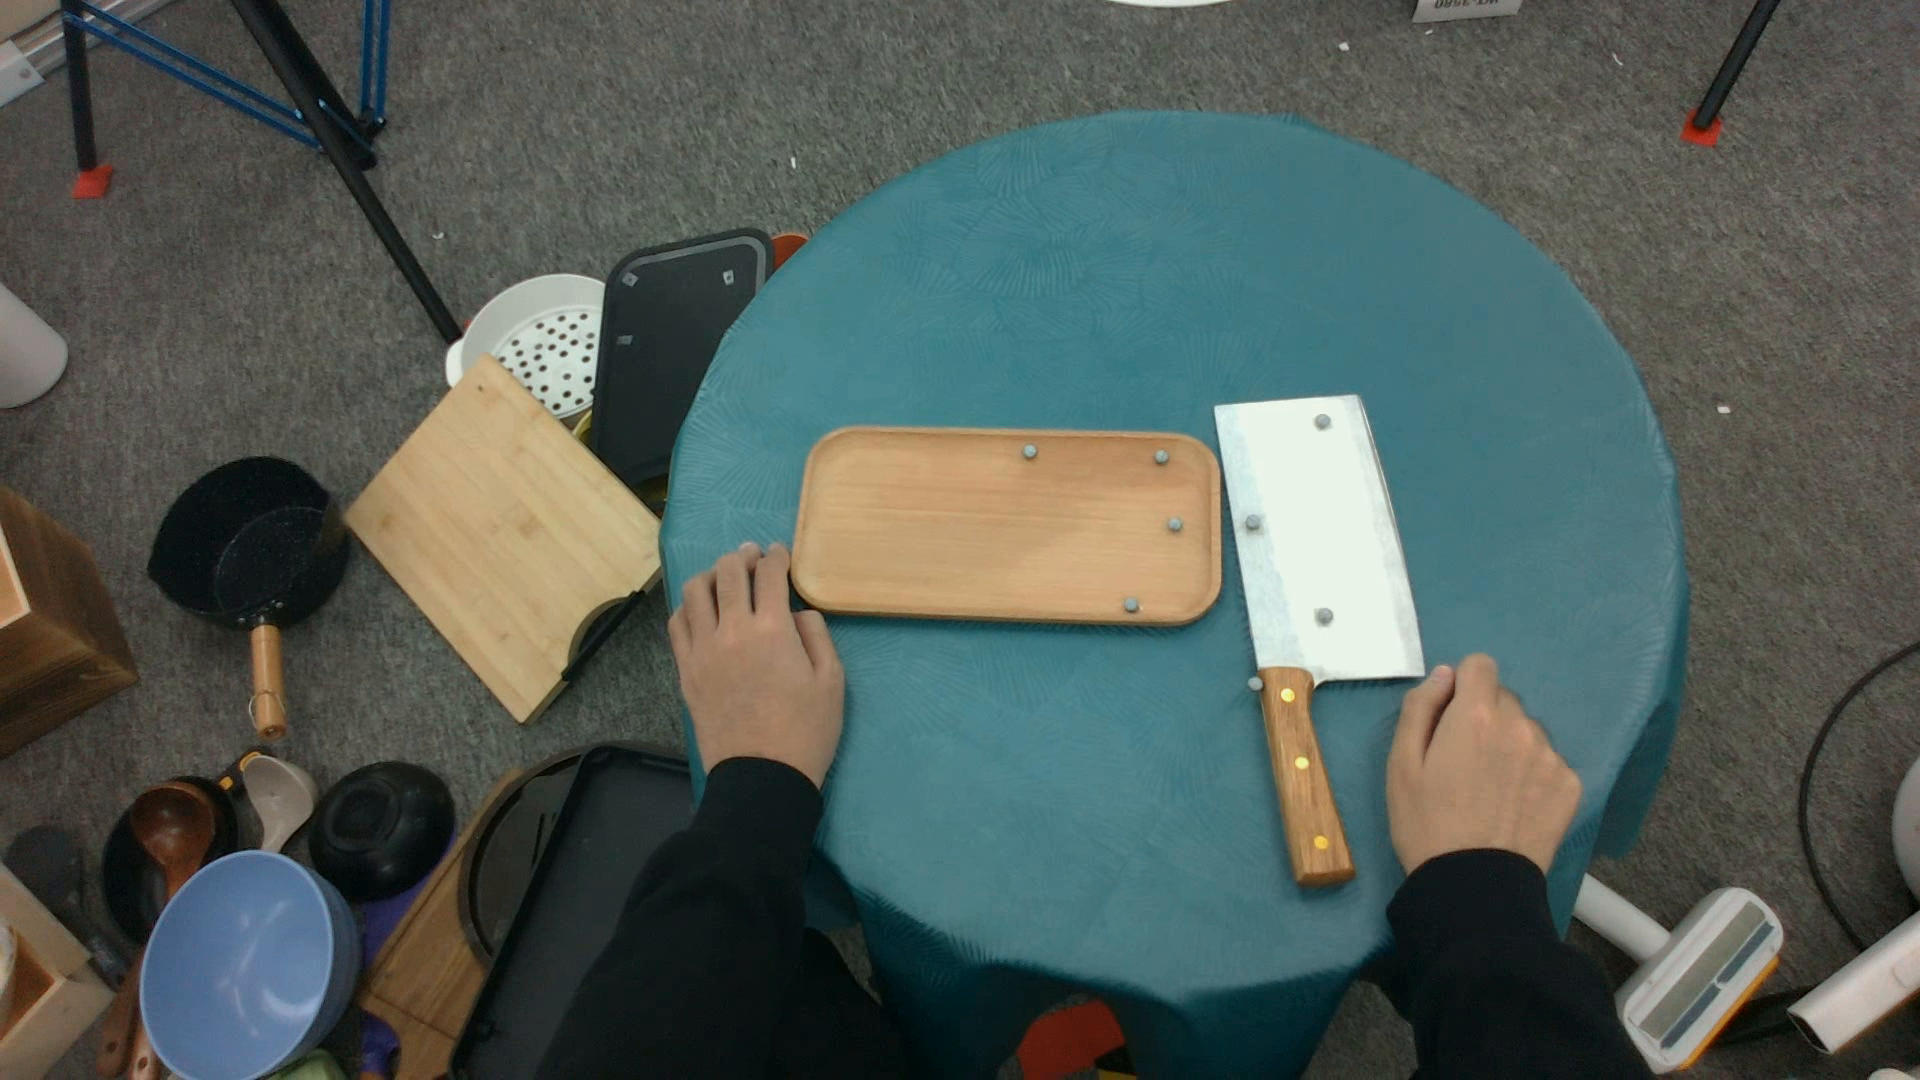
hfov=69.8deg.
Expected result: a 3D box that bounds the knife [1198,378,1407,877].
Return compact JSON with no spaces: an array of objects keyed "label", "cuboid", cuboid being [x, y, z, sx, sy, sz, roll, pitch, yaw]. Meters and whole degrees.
[{"label":"knife","cuboid":[0.197,0.034,0.770,0.093,0.021,0.307,-4,60,1]}]

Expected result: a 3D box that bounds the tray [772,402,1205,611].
[{"label":"tray","cuboid":[0.018,-0.021,0.813,0.250,0.023,0.131,3,60,7]}]
